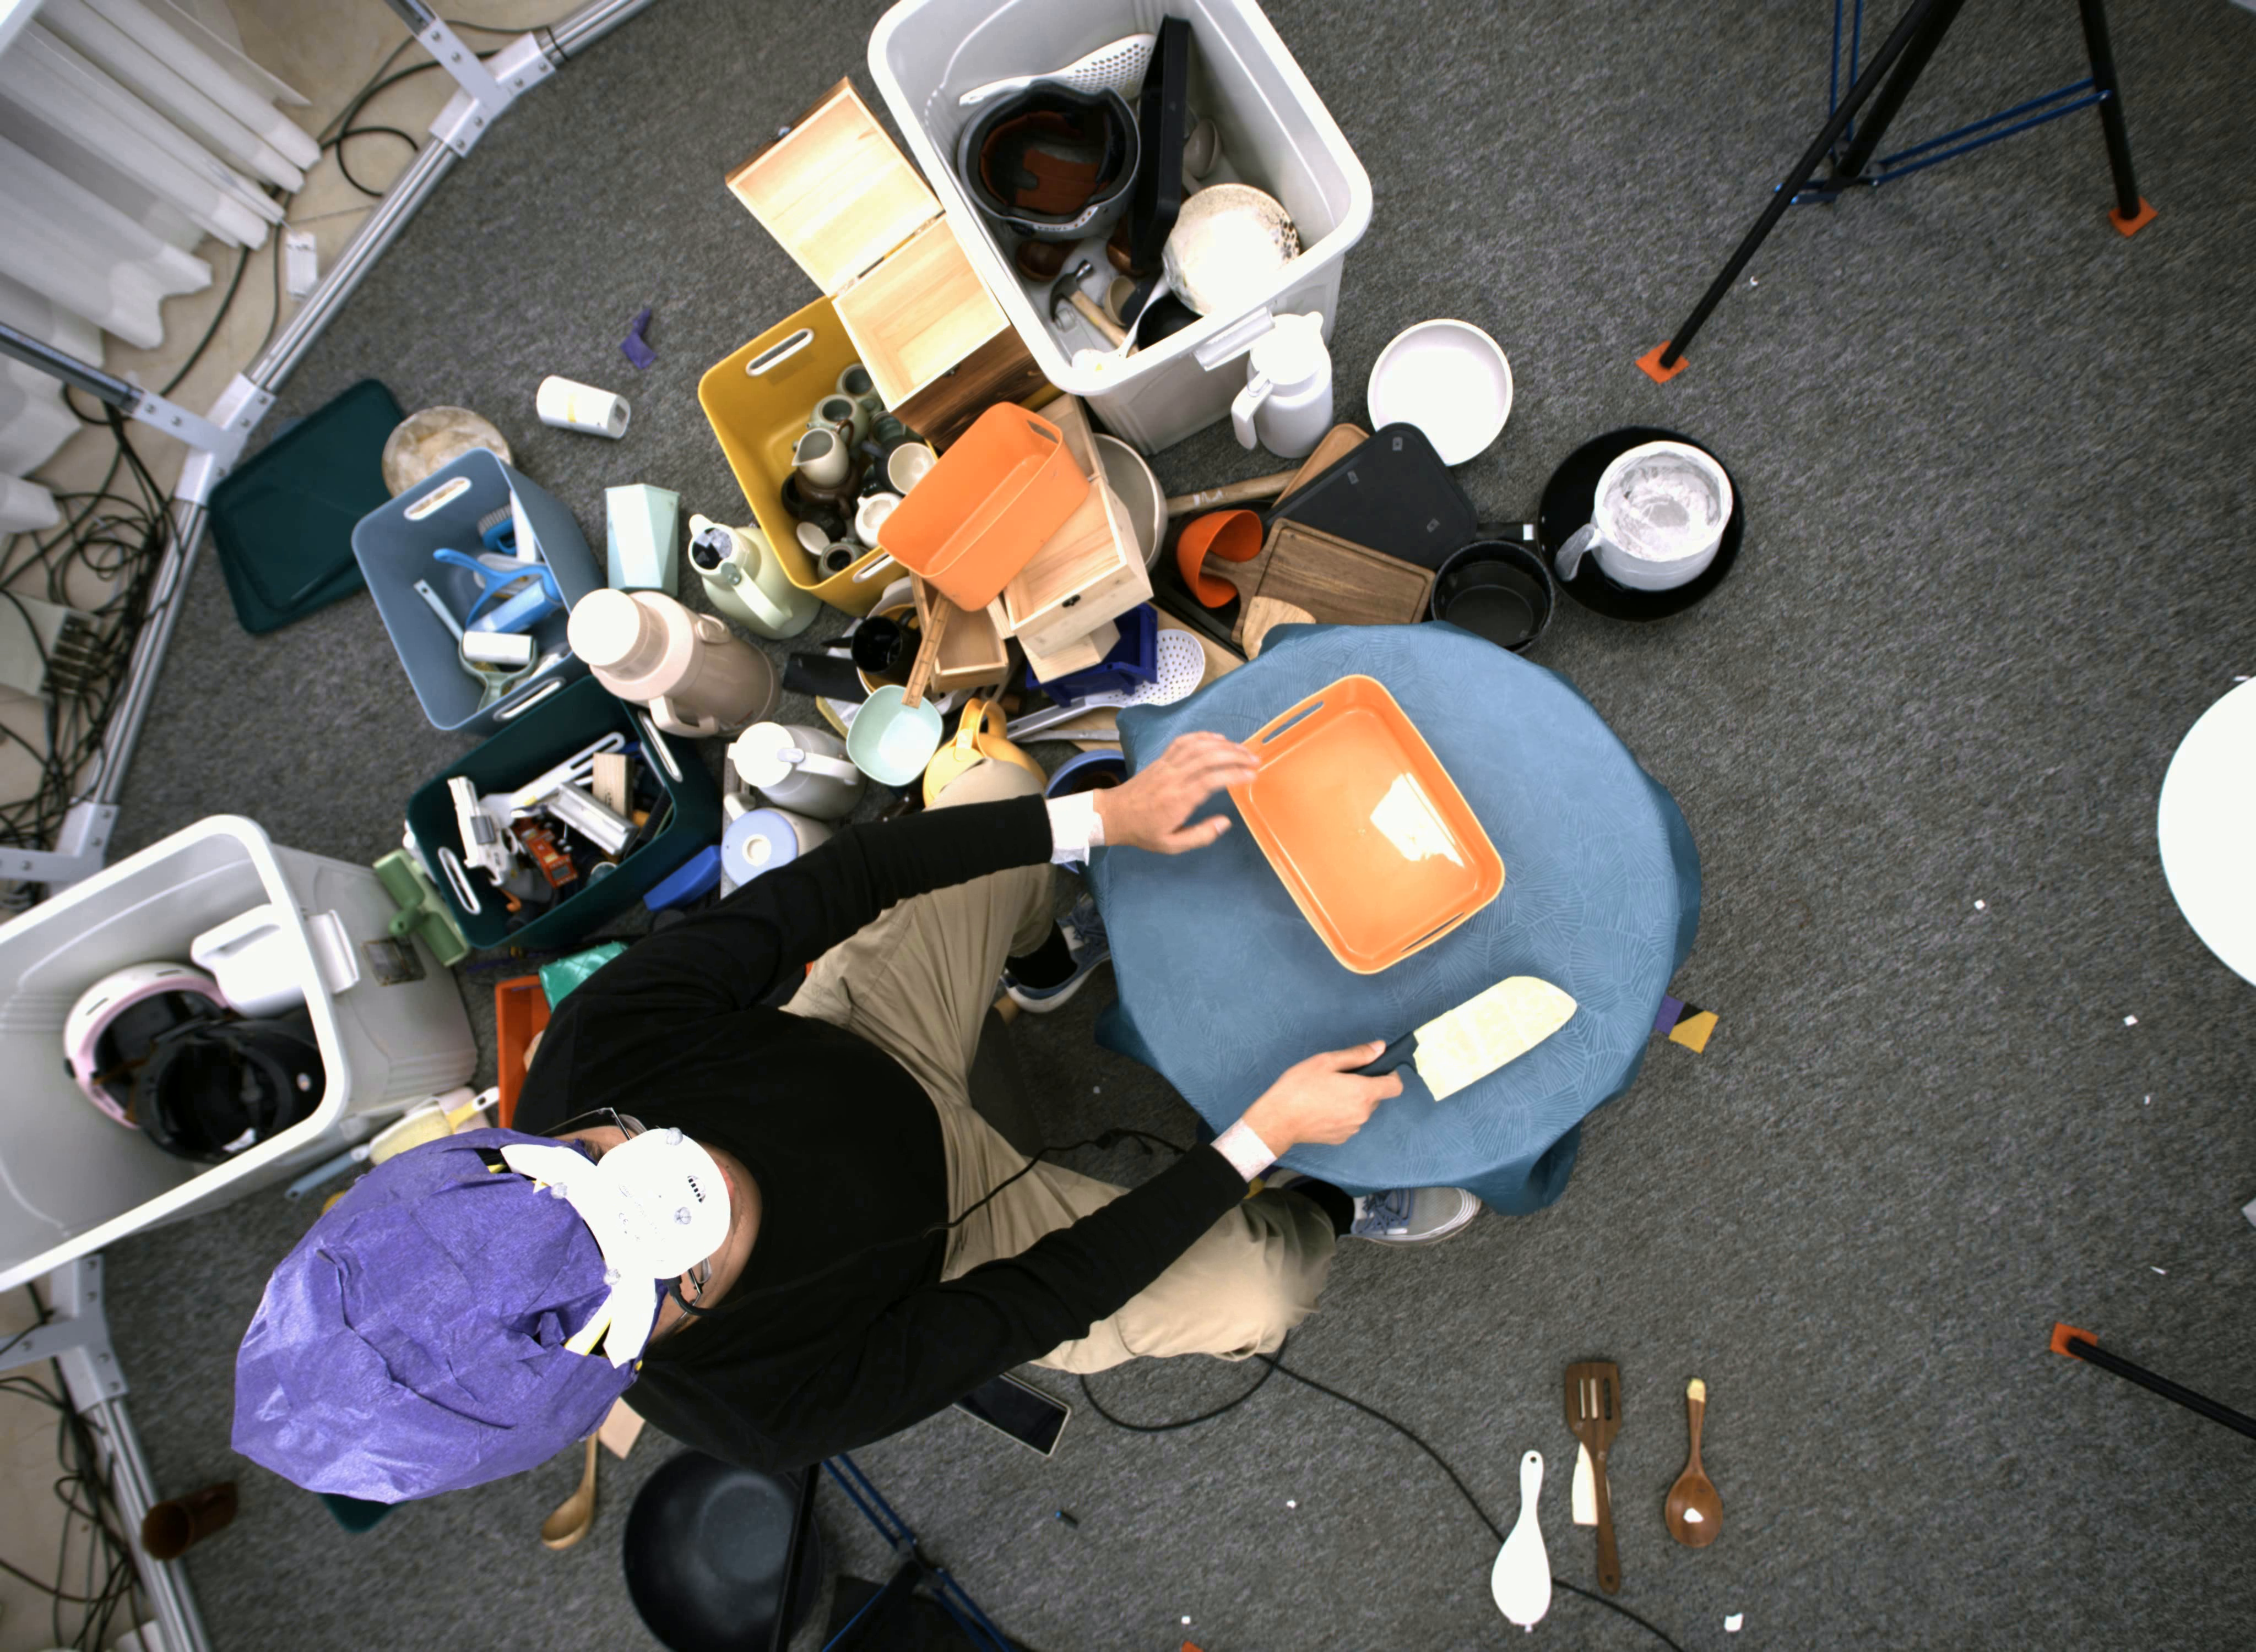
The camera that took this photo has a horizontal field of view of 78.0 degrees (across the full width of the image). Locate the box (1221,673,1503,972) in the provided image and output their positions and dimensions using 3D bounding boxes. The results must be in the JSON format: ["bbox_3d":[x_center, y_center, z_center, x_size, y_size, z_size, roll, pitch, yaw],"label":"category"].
[{"bbox_3d":[0.237,0.000,1.418,0.200,0.102,0.271,-33,82,6],"label":"box"}]

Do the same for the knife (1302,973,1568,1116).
[{"bbox_3d":[0.311,0.227,1.387,0.290,0.027,0.080,-27,84,5],"label":"knife"}]
